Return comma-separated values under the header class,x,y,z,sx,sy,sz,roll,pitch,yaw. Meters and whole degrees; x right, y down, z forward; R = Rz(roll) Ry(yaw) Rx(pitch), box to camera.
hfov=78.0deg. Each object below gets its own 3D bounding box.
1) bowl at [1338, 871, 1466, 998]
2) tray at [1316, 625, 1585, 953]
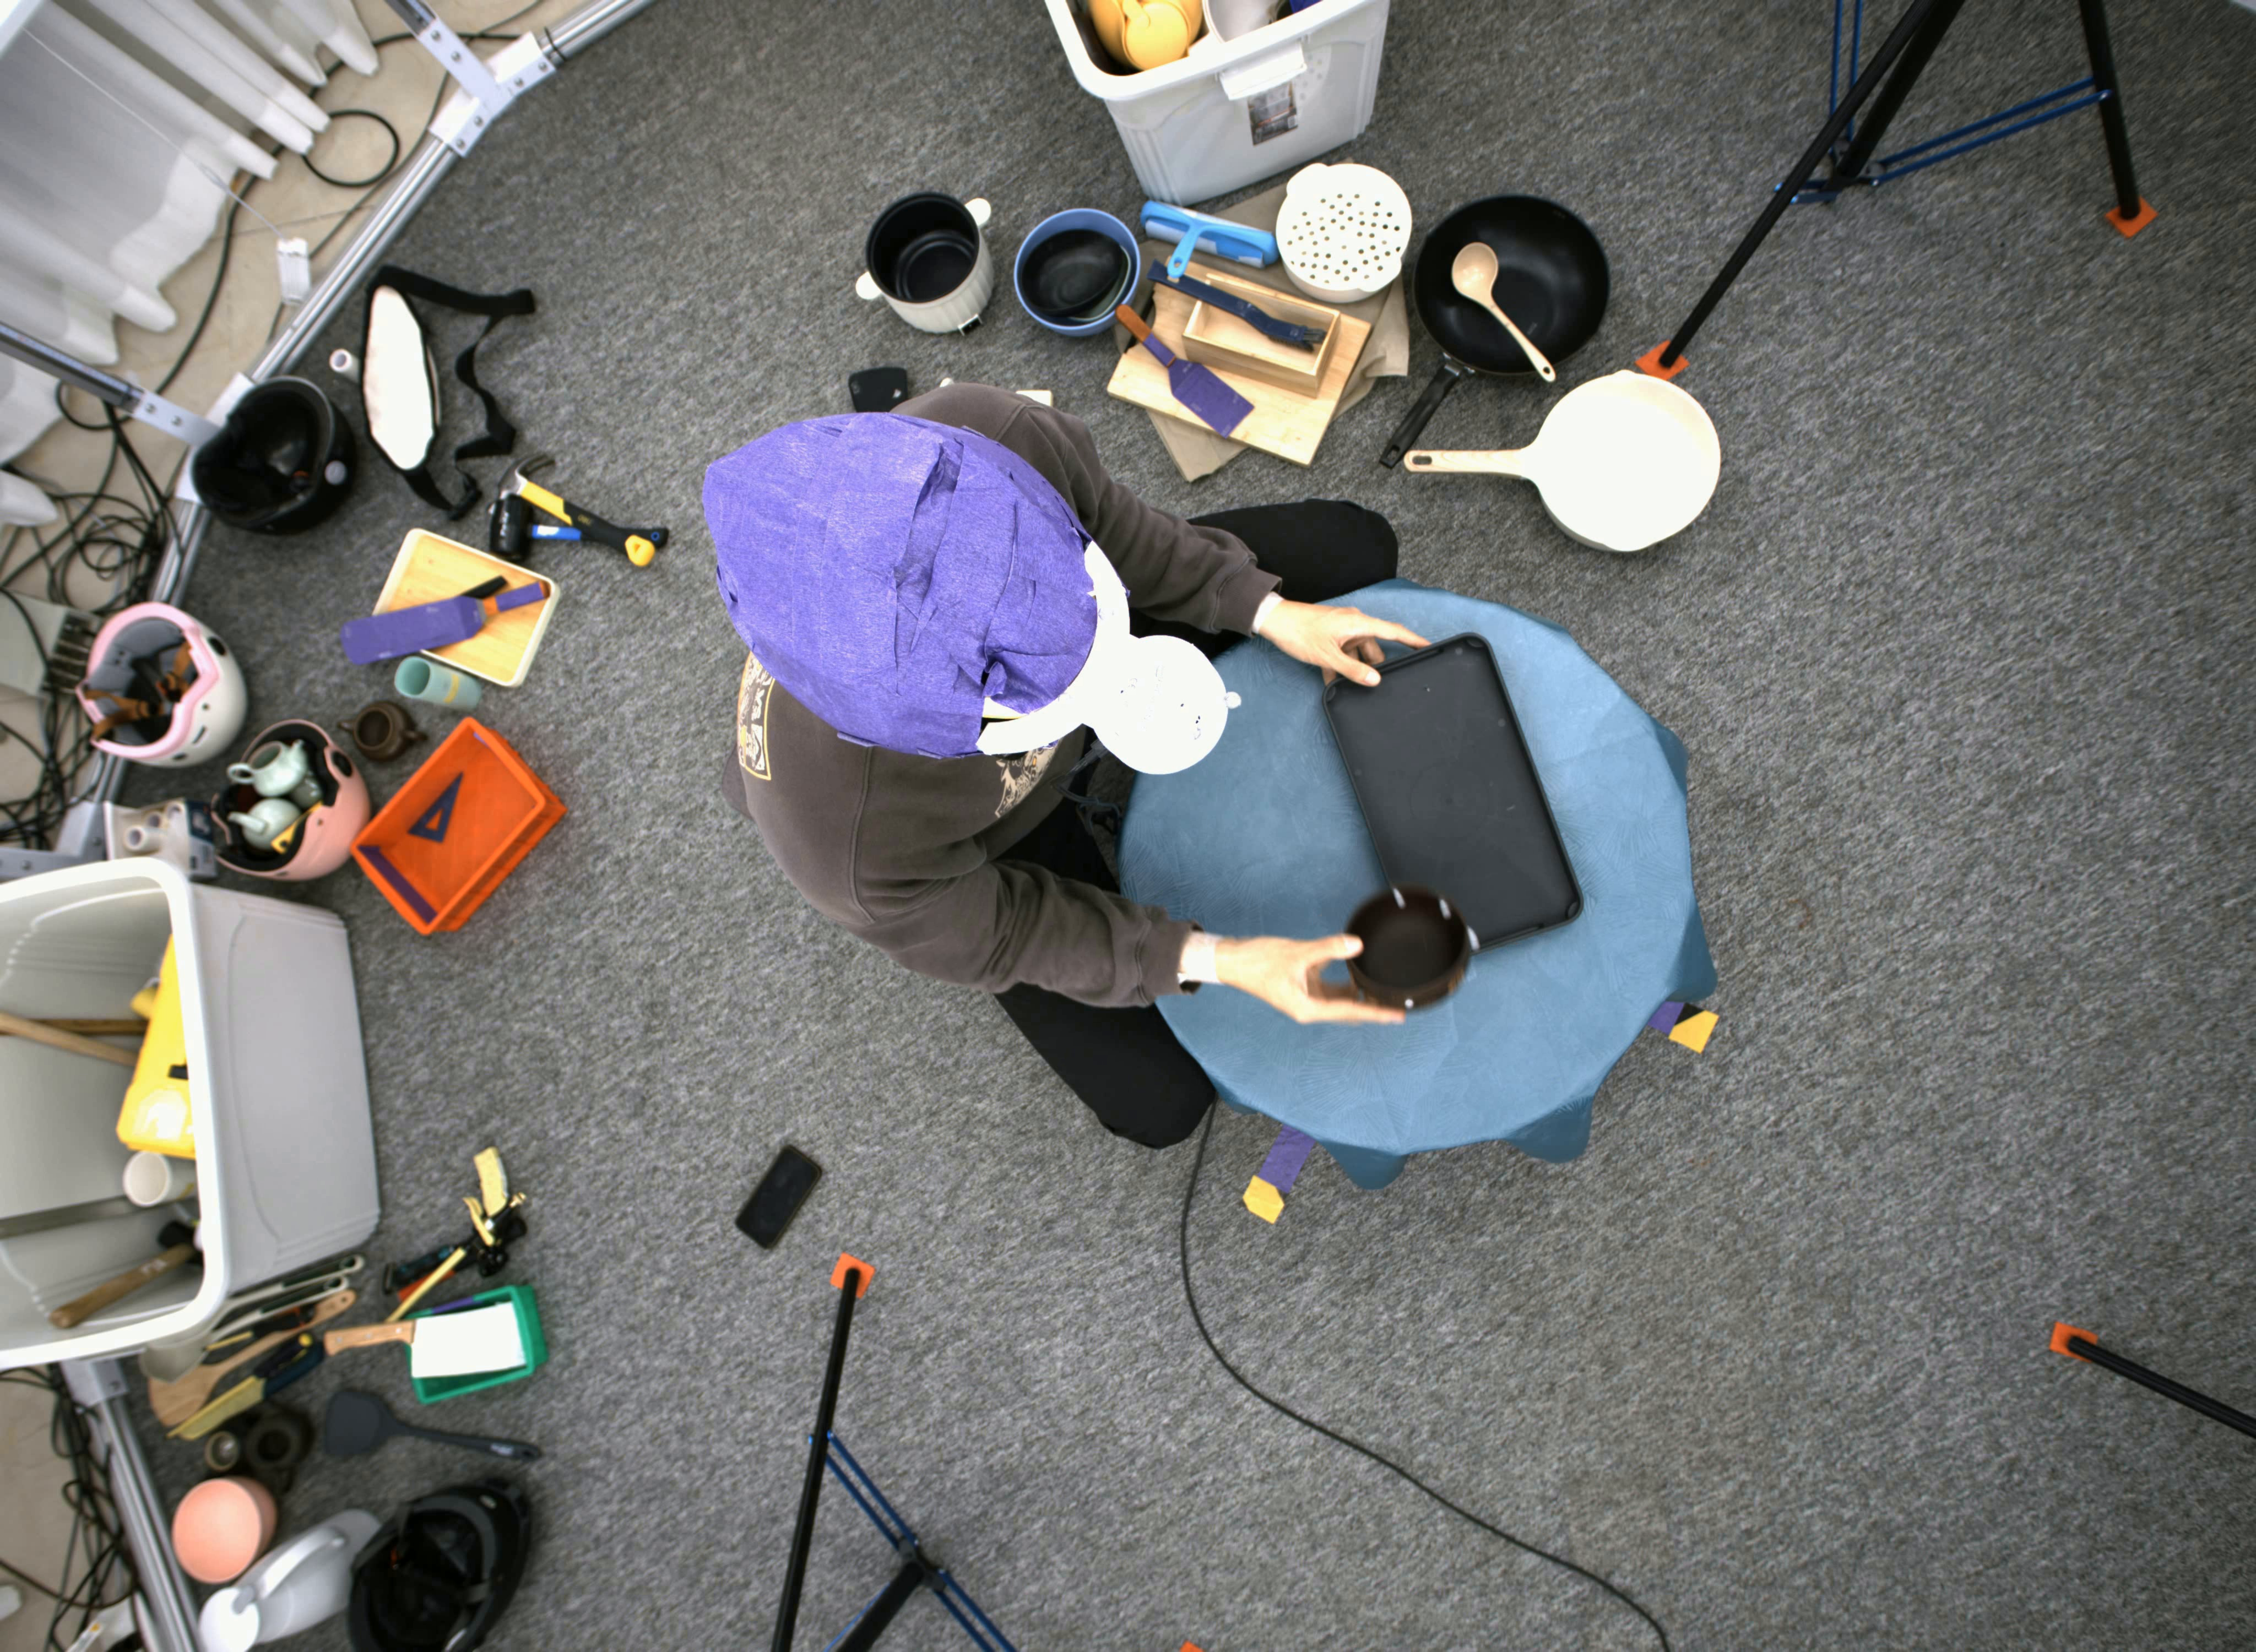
class,x,y,z,sx,sy,sz,roll,pitch,yaw
bowl,0.260,0.107,1.301,0.119,0.071,0.115,-9,60,15
tray,0.332,-0.035,1.426,0.185,0.037,0.317,-21,87,10
